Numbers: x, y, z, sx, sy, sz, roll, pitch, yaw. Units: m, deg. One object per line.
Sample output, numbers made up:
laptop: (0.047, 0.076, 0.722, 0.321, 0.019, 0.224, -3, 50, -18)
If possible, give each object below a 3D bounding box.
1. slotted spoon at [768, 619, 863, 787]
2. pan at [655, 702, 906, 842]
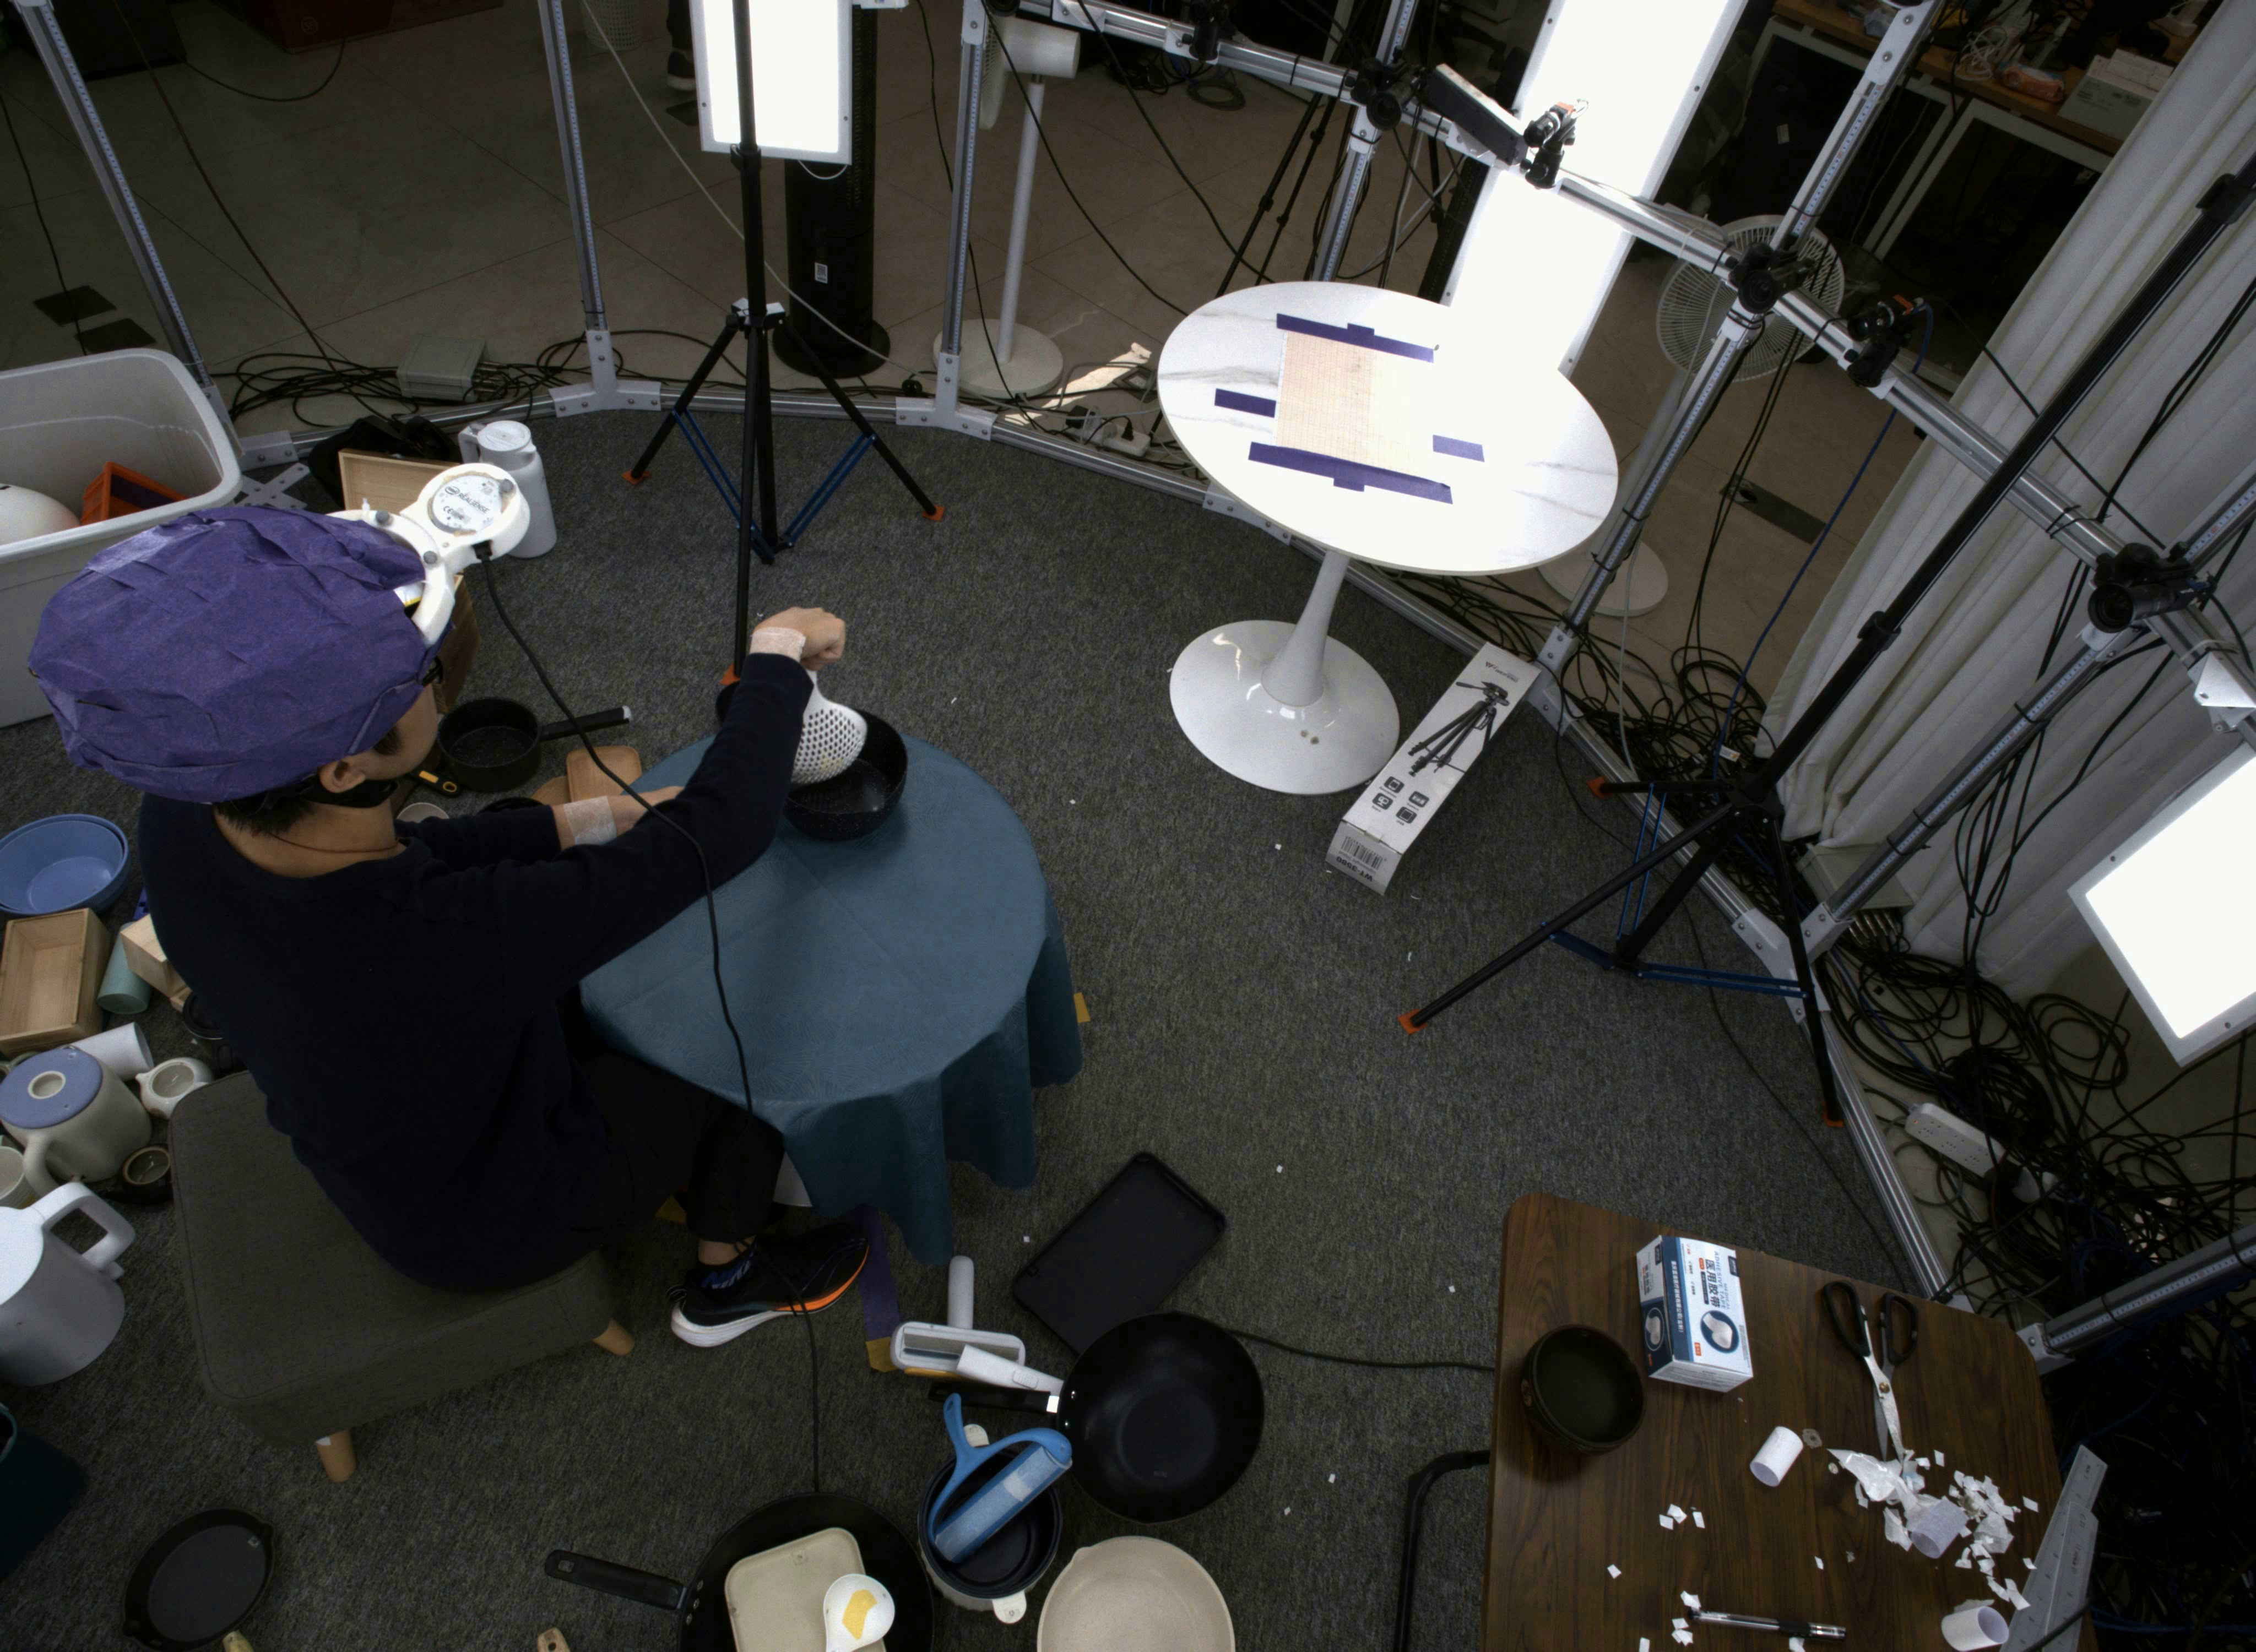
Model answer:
slotted spoon: (-0.389, -0.148, 1.599, 0.137, 0.355, 0.049, -28, 65, -21)
pan: (-0.445, -0.038, 1.667, 0.344, 0.110, 0.203, -30, 66, -33)
